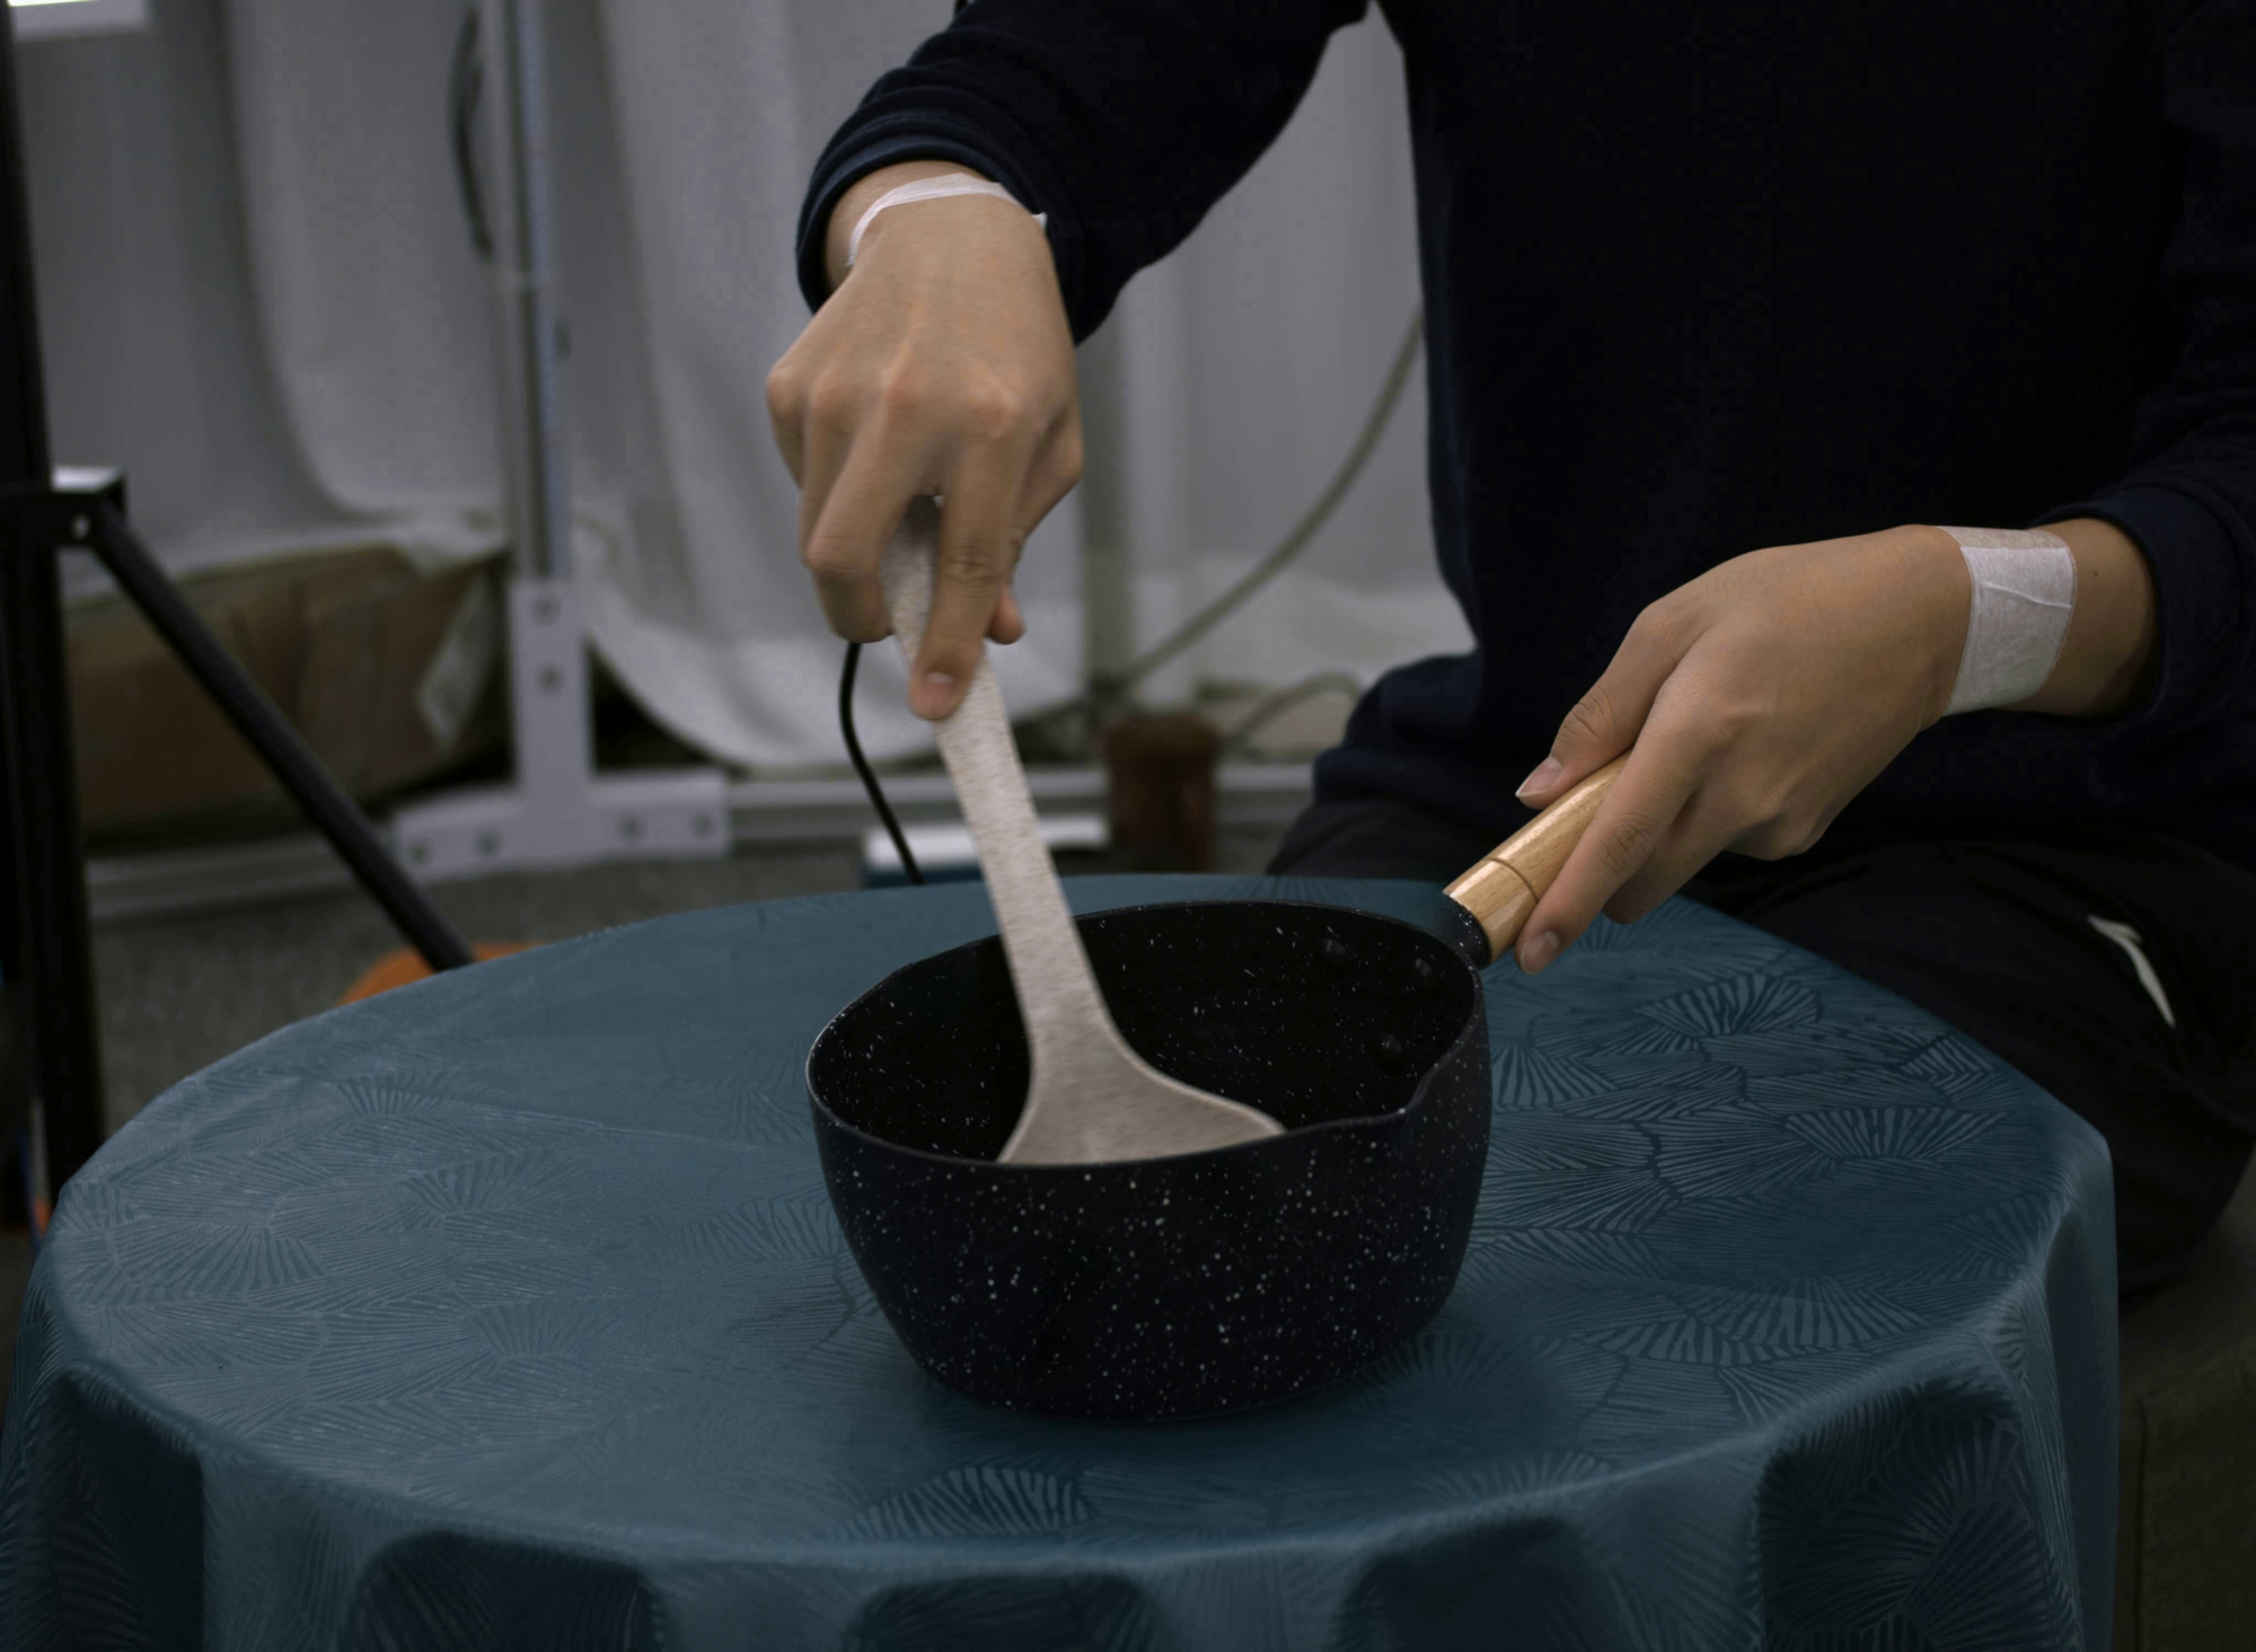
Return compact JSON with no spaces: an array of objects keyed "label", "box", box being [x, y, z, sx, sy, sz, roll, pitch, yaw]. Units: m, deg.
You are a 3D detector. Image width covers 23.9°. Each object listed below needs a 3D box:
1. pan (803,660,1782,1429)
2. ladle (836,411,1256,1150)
[{"label":"pan","box":[0.065,0.056,1.476,0.336,0.108,0.212,-25,25,-36]},{"label":"ladle","box":[-0.035,0.000,1.475,0.089,0.278,0.069,-17,-15,-5]}]
